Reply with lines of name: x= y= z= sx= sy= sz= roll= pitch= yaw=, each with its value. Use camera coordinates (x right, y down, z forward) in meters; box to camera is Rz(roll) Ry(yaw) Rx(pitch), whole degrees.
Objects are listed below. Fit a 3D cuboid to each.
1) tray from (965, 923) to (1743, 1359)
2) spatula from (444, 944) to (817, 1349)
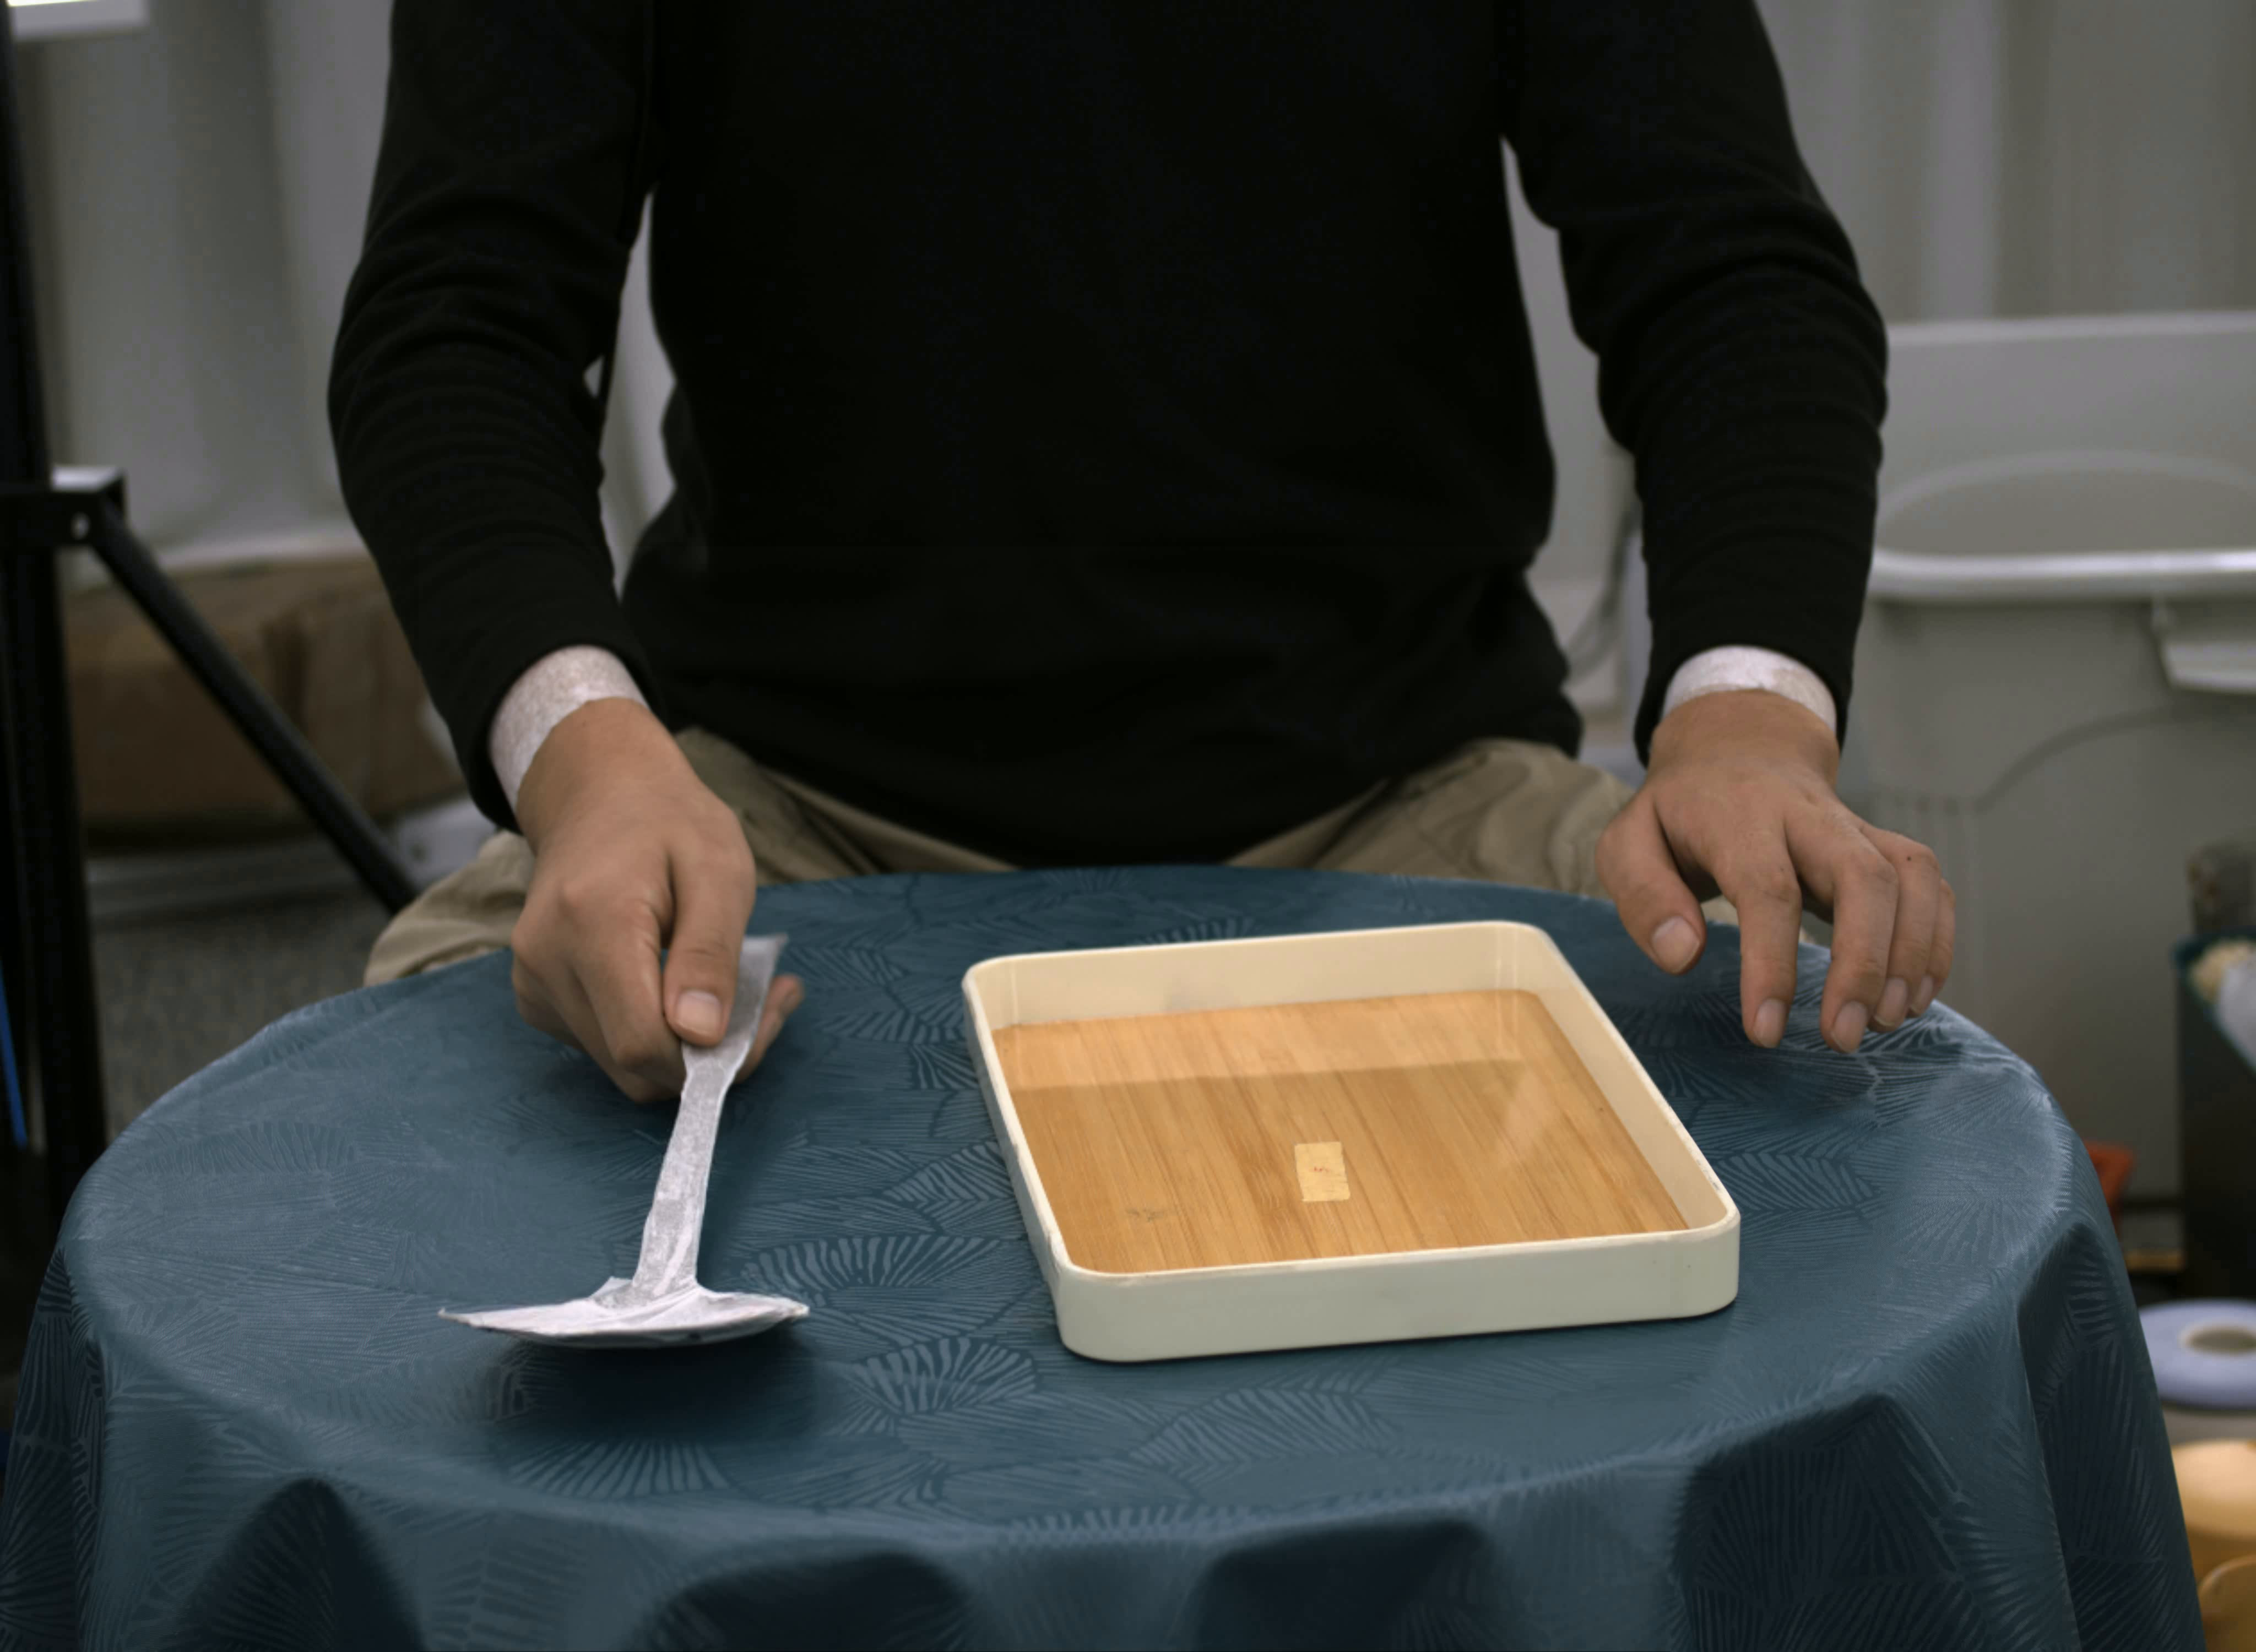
tray: x=0.059 y=0.088 z=1.567 sx=0.190 sy=0.027 sz=0.303 roll=-4 pitch=16 yaw=-5
spatula: x=-0.125 y=0.085 z=1.557 sx=0.098 sy=0.044 sz=0.366 roll=-2 pitch=21 yaw=3
